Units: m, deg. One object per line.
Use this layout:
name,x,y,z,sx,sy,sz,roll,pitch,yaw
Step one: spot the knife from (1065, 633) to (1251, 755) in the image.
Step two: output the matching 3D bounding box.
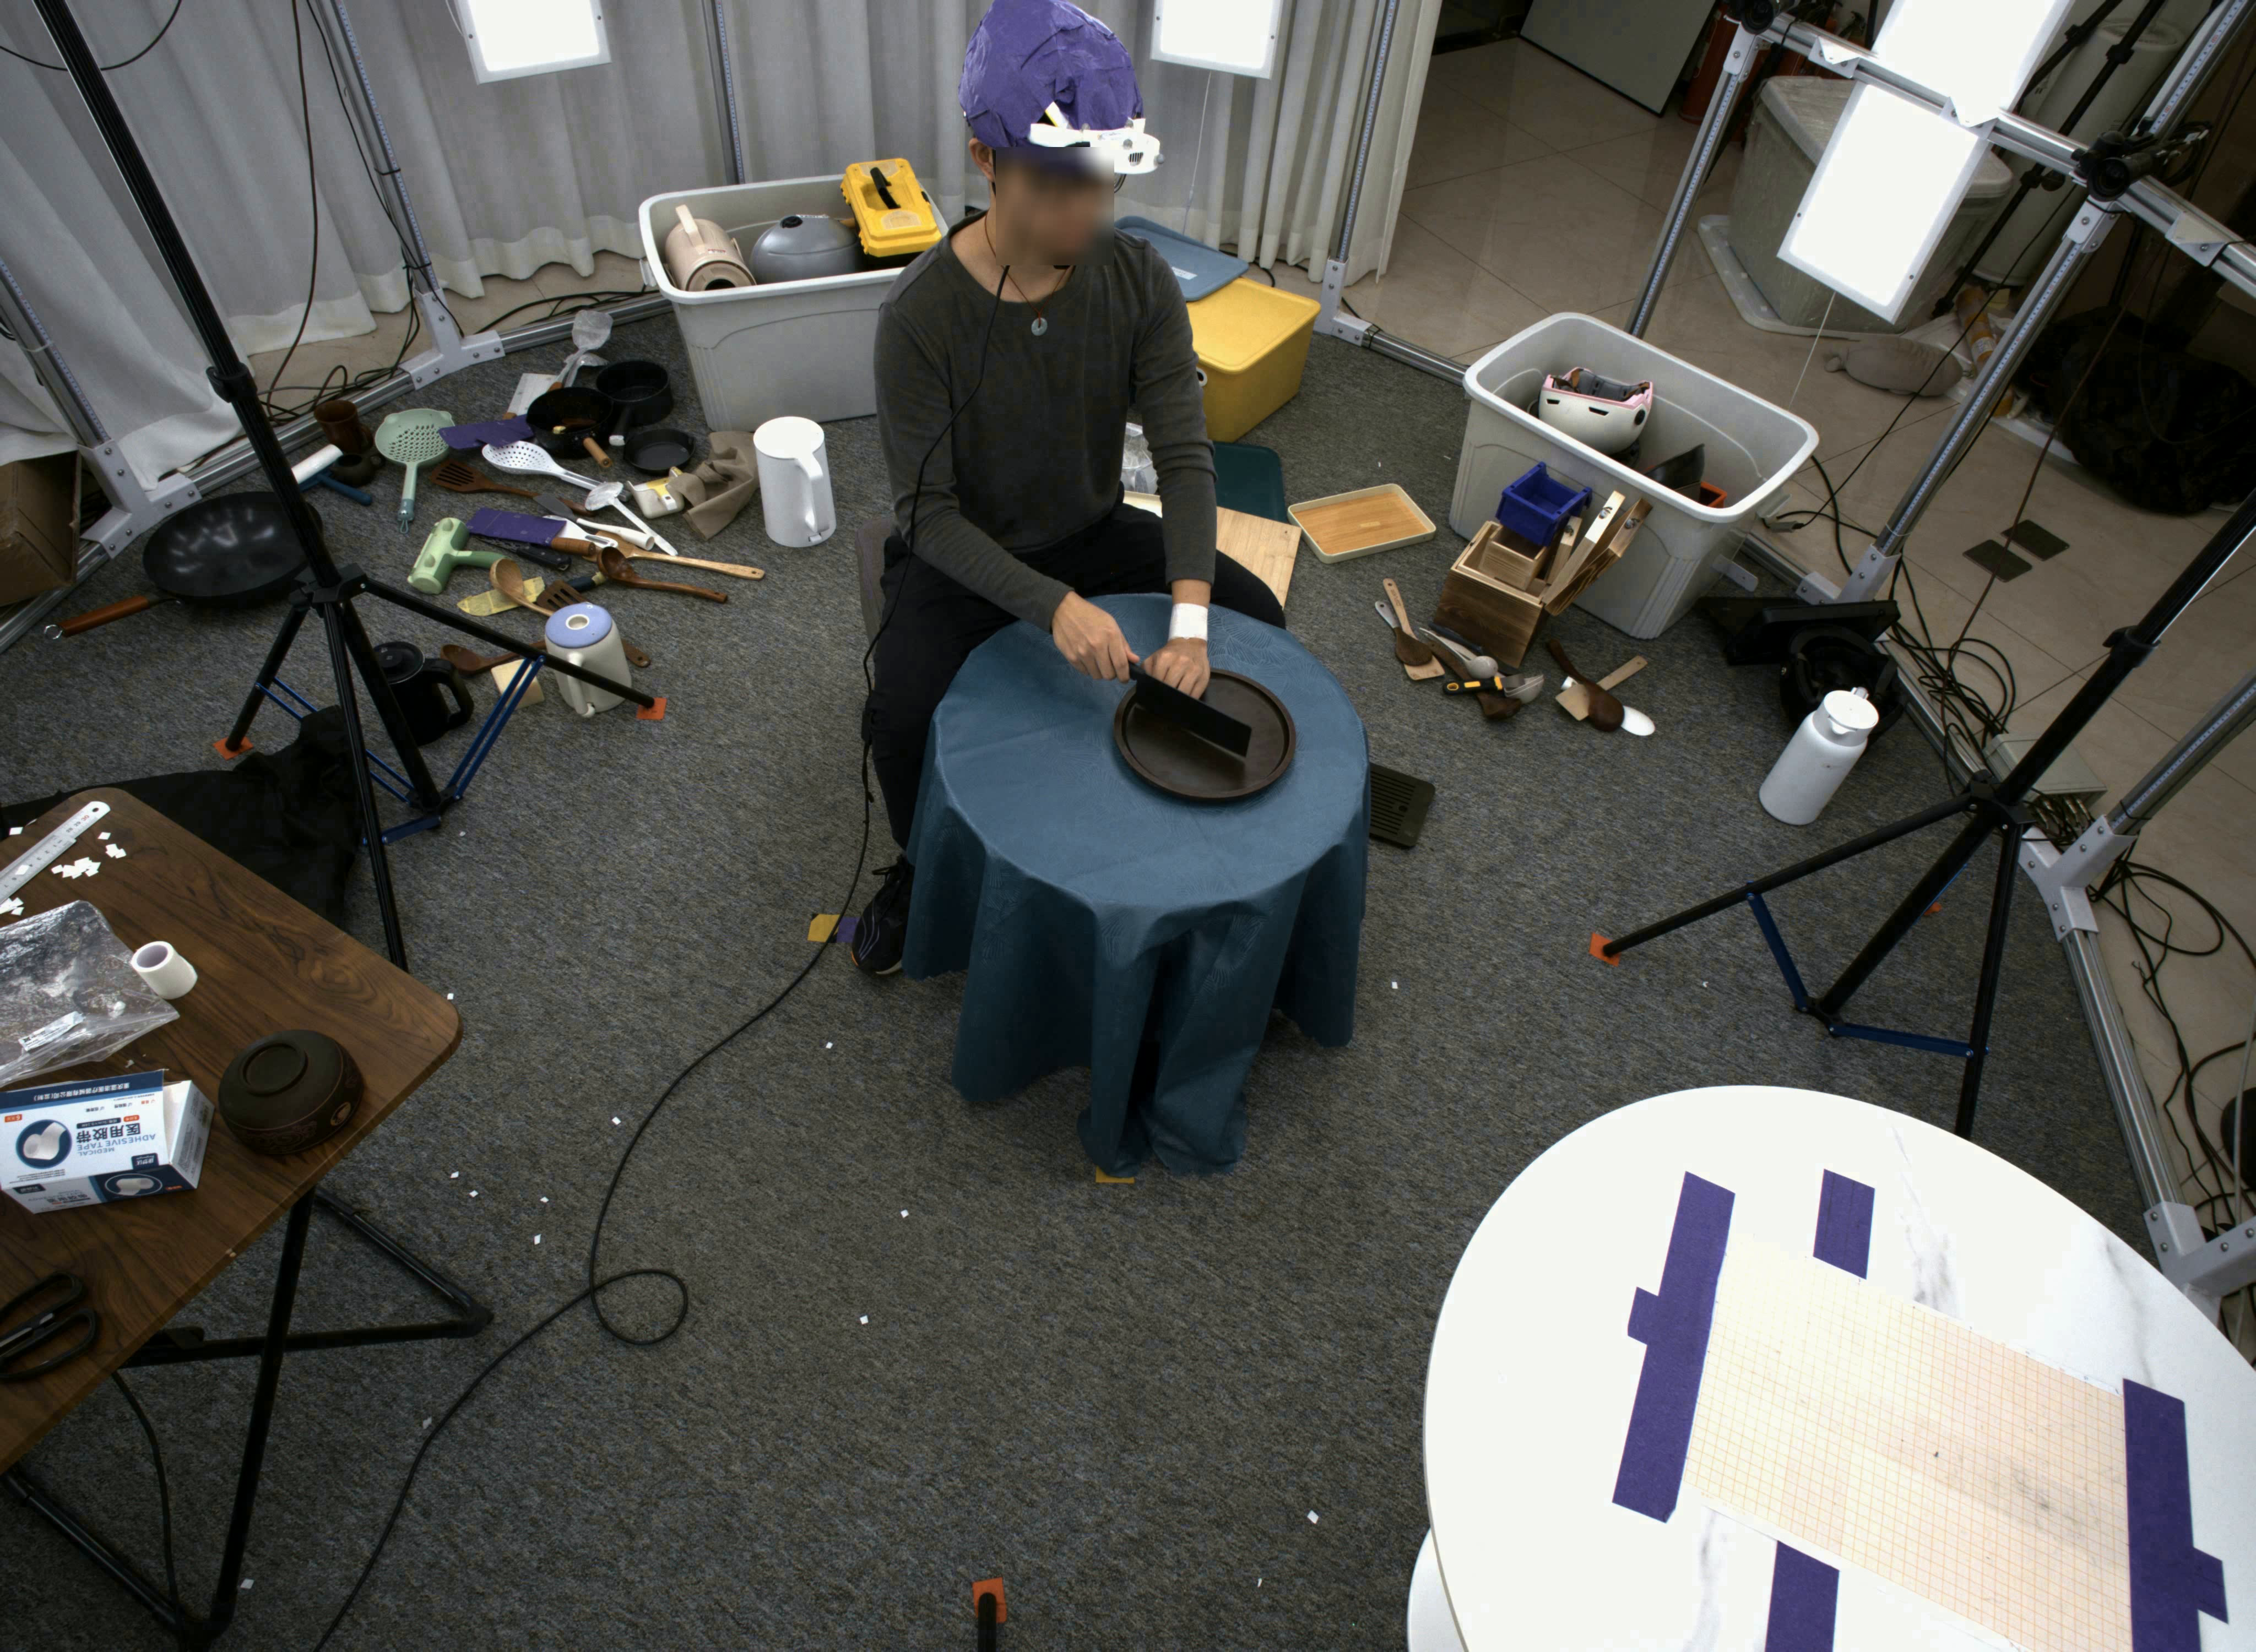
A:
knife,0.039,-0.185,1.757,0.305,0.079,0.021,32,55,16

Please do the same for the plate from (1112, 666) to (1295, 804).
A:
plate,0.104,-0.127,1.770,0.254,0.028,0.261,1,50,-2
